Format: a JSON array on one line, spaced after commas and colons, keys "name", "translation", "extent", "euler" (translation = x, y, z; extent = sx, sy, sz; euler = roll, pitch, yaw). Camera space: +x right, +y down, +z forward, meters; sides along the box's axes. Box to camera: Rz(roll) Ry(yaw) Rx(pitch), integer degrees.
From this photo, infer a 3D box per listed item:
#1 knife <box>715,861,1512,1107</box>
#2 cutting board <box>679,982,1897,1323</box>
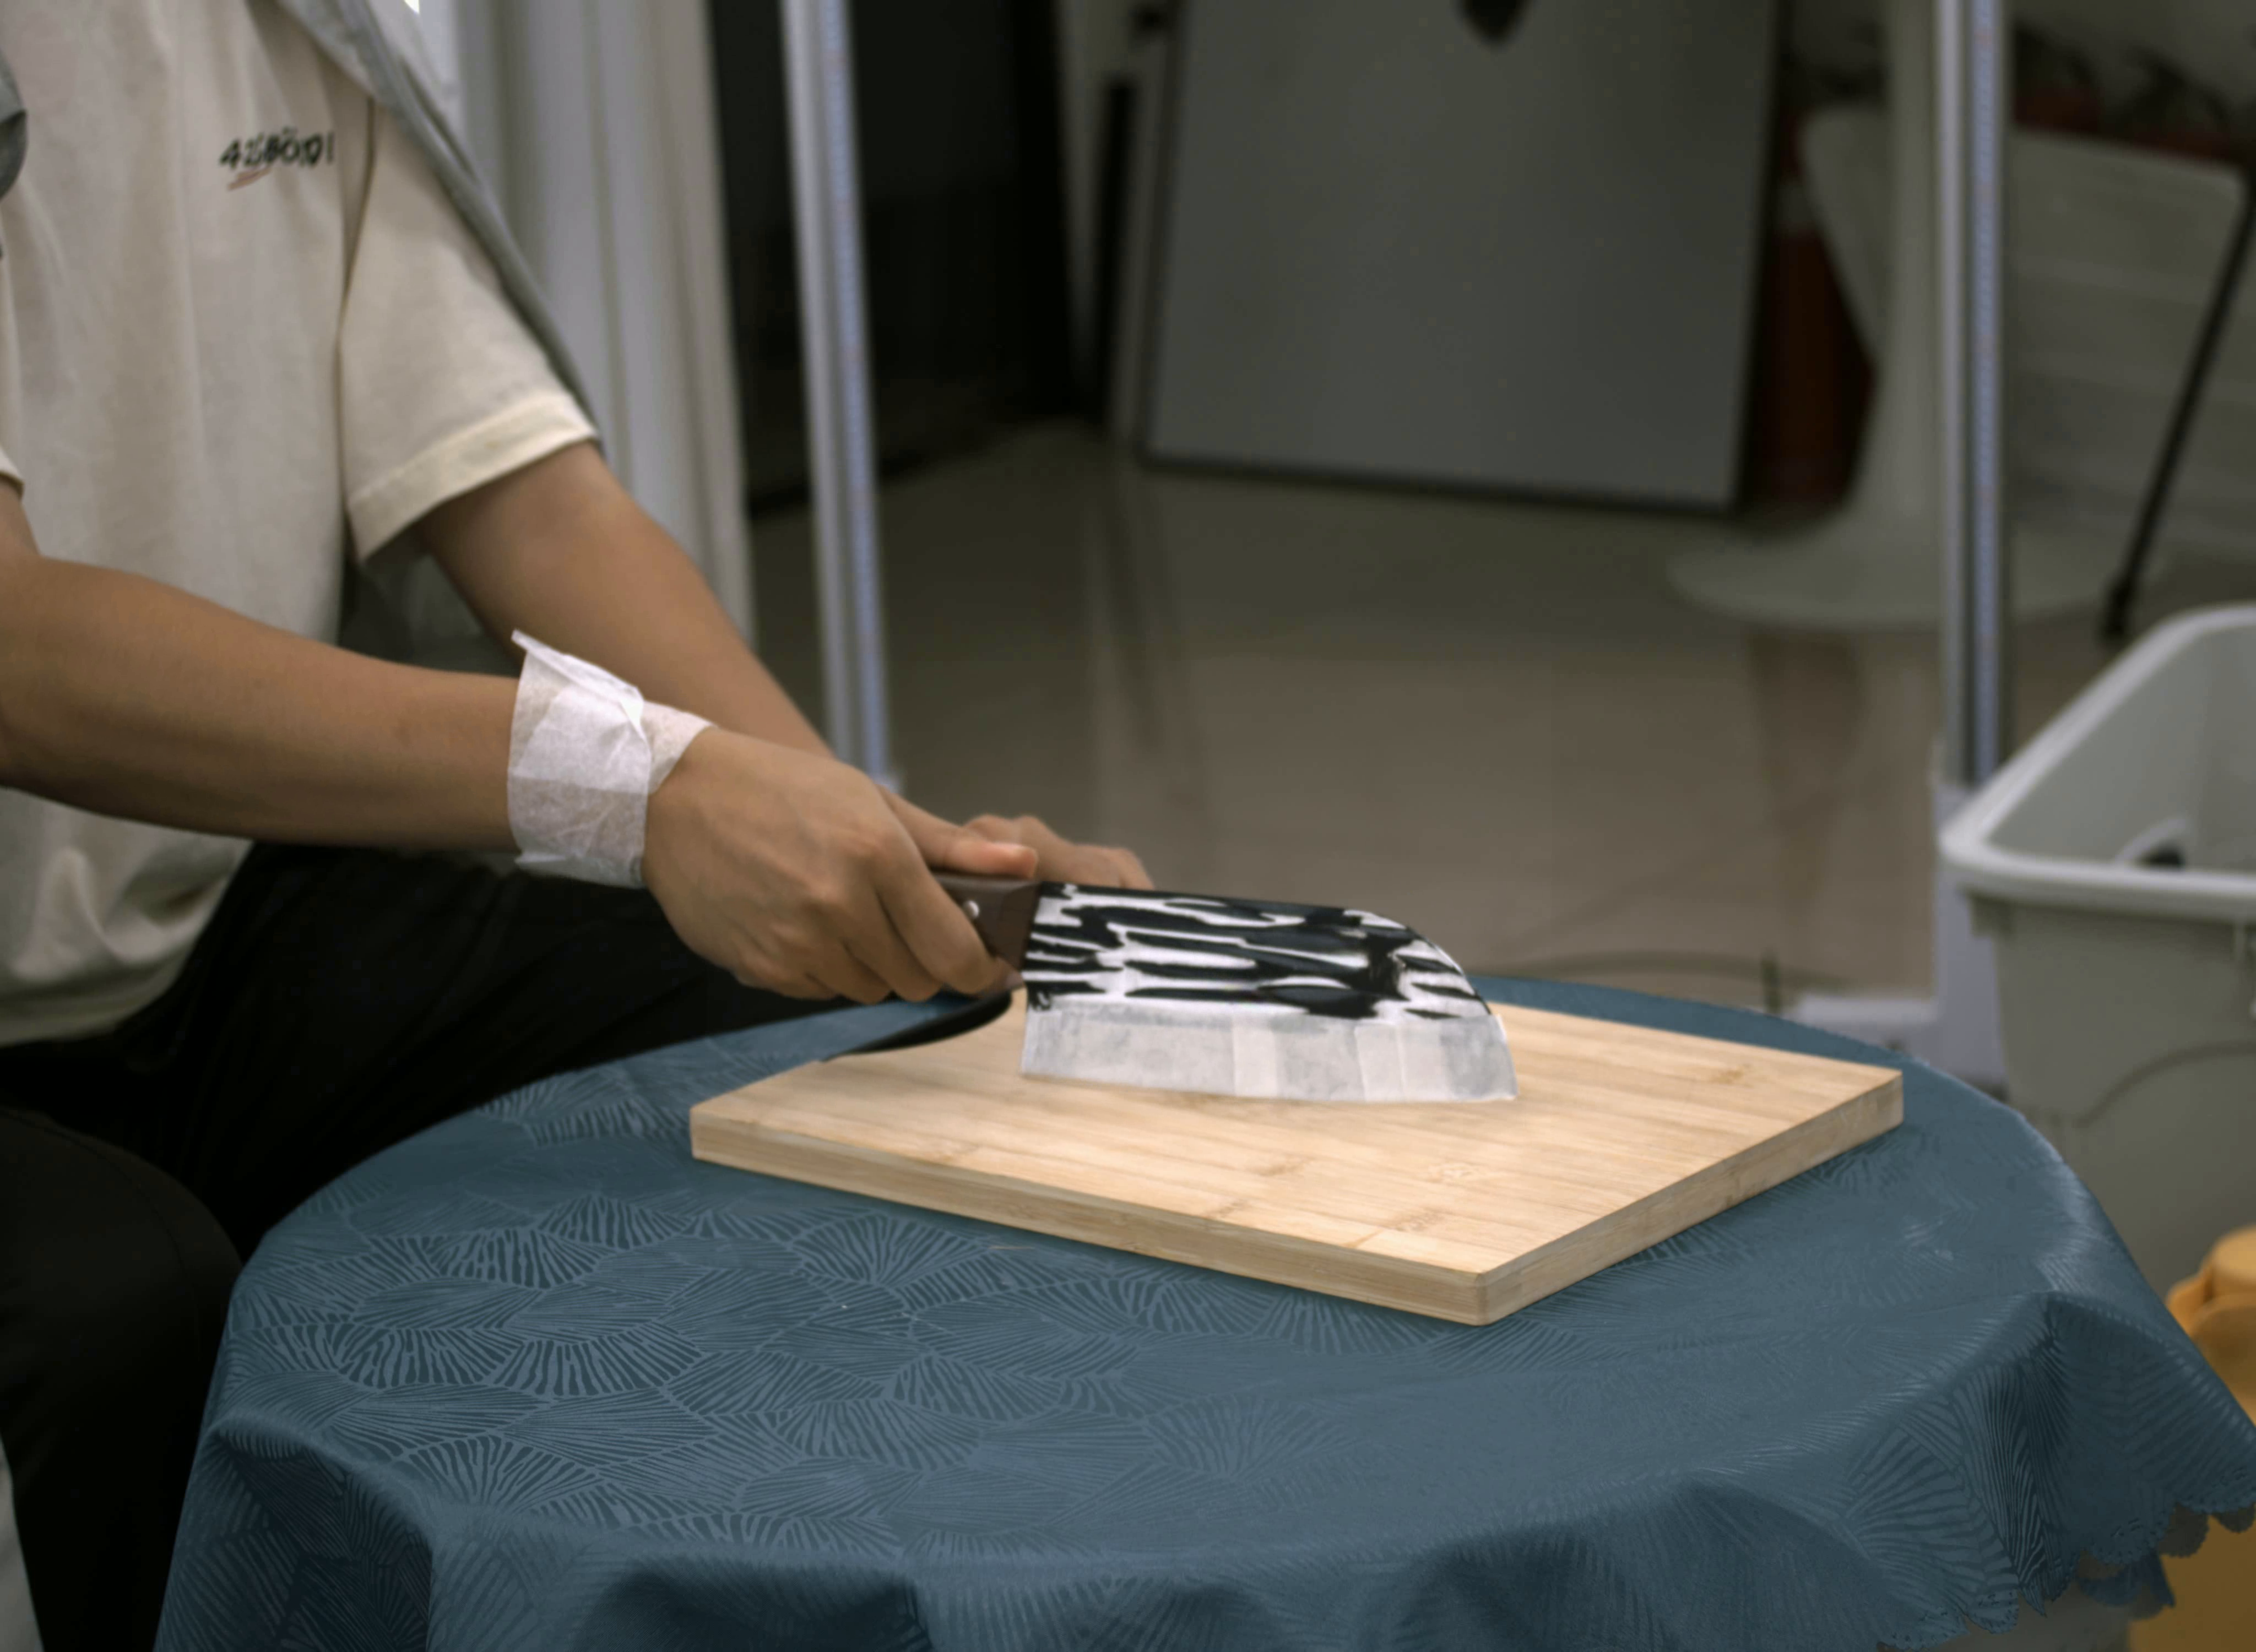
[{"name": "knife", "translation": [-0.008, 0.053, 1.822], "extent": [0.300, 0.069, 0.023], "euler": [6, 3, 24]}, {"name": "cutting board", "translation": [0.051, 0.099, 1.818], "extent": [0.351, 0.024, 0.246], "euler": [7, 18, 40]}]
